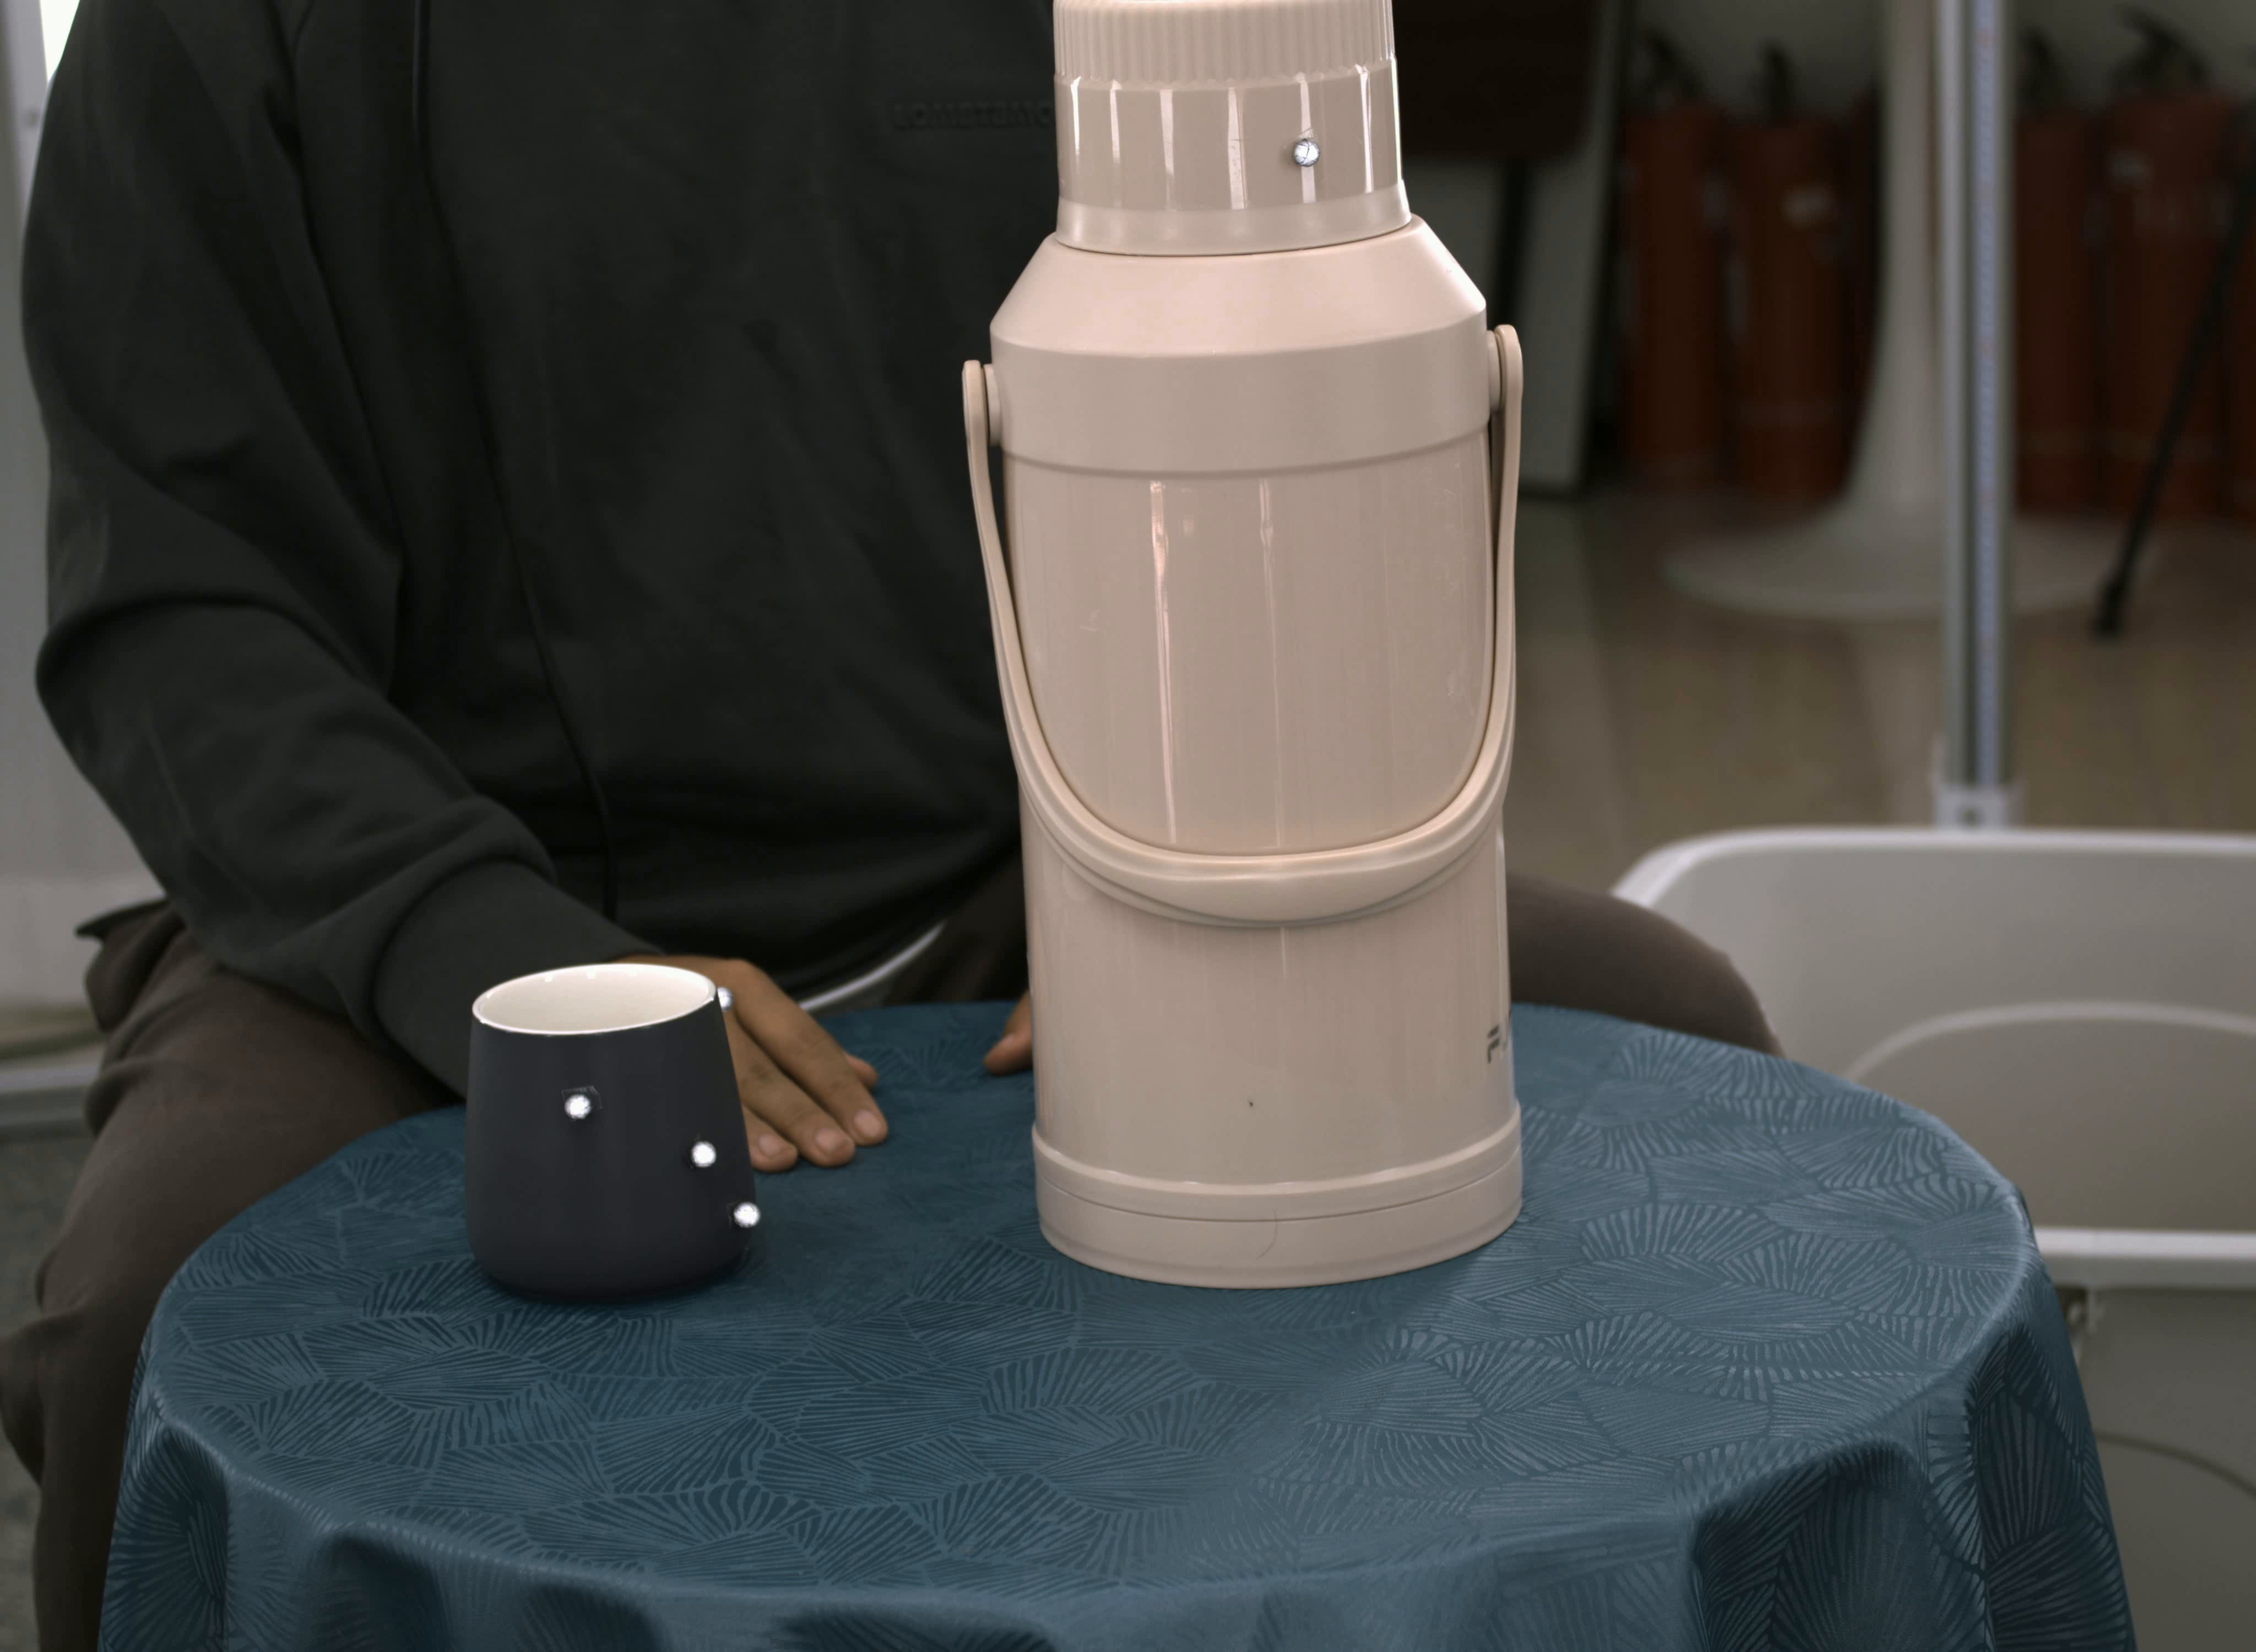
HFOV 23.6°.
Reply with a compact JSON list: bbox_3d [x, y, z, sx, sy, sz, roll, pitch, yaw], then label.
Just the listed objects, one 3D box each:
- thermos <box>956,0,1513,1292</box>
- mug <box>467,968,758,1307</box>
[{"bbox_3d":[0.036,-0.072,1.713,0.173,0.411,0.208,-5,14,-4],"label":"thermos"},{"bbox_3d":[-0.165,0.095,1.735,0.092,0.091,0.123,-3,13,4],"label":"mug"}]
